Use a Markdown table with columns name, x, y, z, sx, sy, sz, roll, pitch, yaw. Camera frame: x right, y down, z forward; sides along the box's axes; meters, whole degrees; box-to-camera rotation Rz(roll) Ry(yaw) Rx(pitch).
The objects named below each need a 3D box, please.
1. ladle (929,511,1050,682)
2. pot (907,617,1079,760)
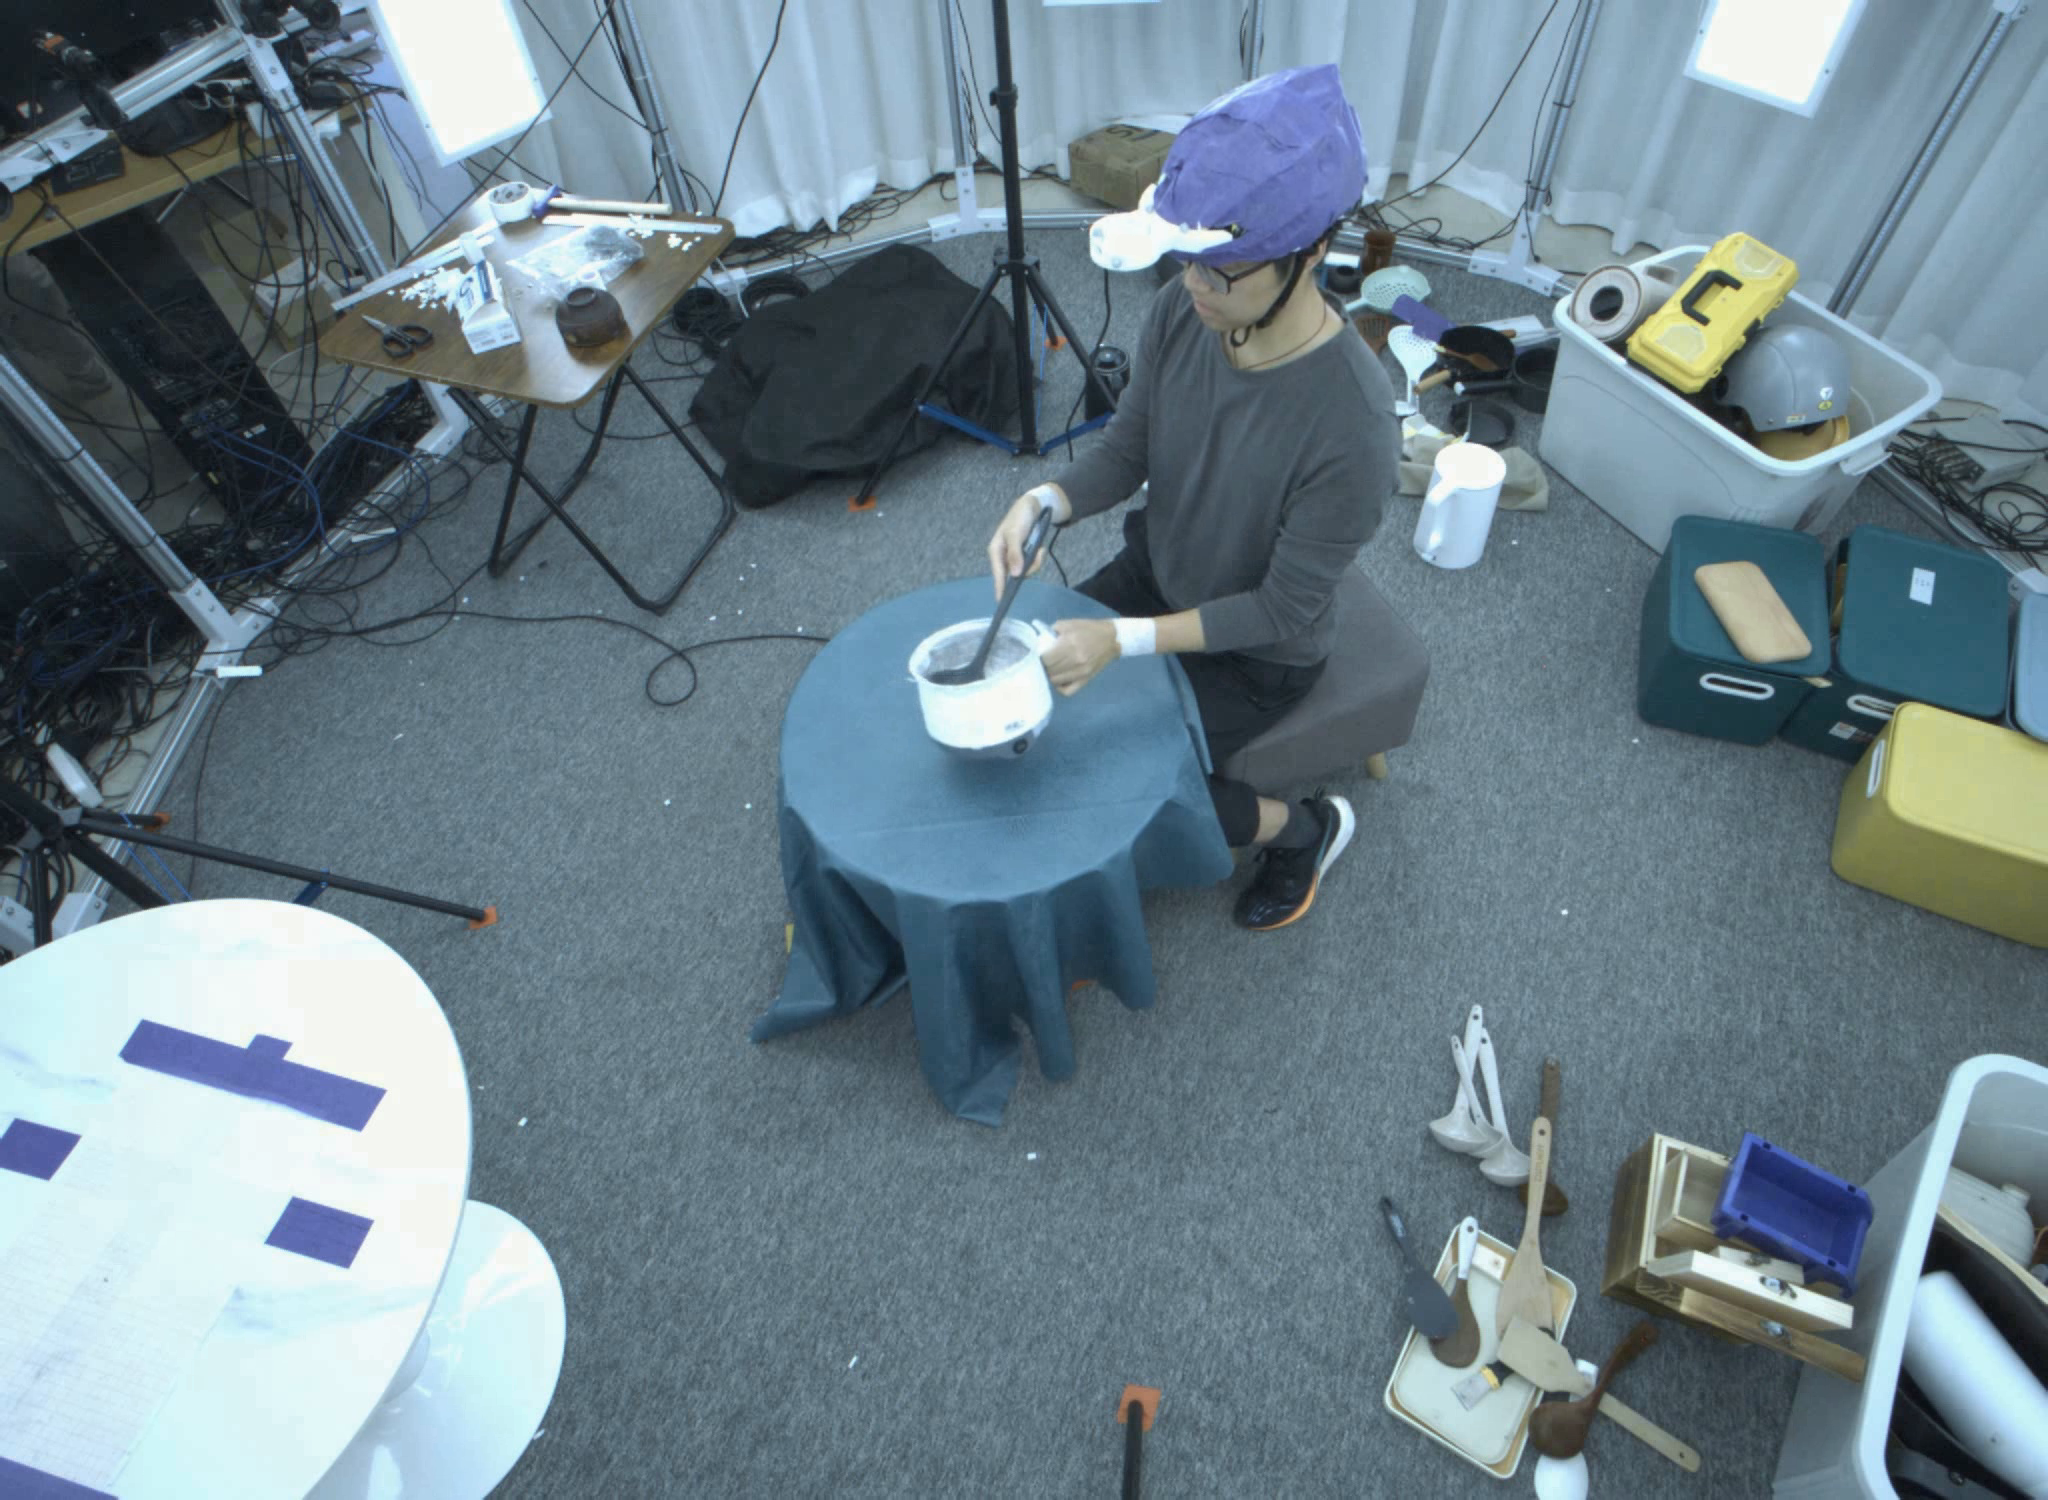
| name | x | y | z | sx | sy | sz | roll | pitch | yaw |
| --- | --- | --- | --- | --- | --- | --- | --- | --- | --- |
| ladle | -0.041 | -0.197 | 1.676 | 0.085 | 0.065 | 0.314 | 23 | 85 | 20 |
| pot | -0.035 | -0.094 | 1.697 | 0.236 | 0.138 | 0.174 | -27 | 37 | -20 |
